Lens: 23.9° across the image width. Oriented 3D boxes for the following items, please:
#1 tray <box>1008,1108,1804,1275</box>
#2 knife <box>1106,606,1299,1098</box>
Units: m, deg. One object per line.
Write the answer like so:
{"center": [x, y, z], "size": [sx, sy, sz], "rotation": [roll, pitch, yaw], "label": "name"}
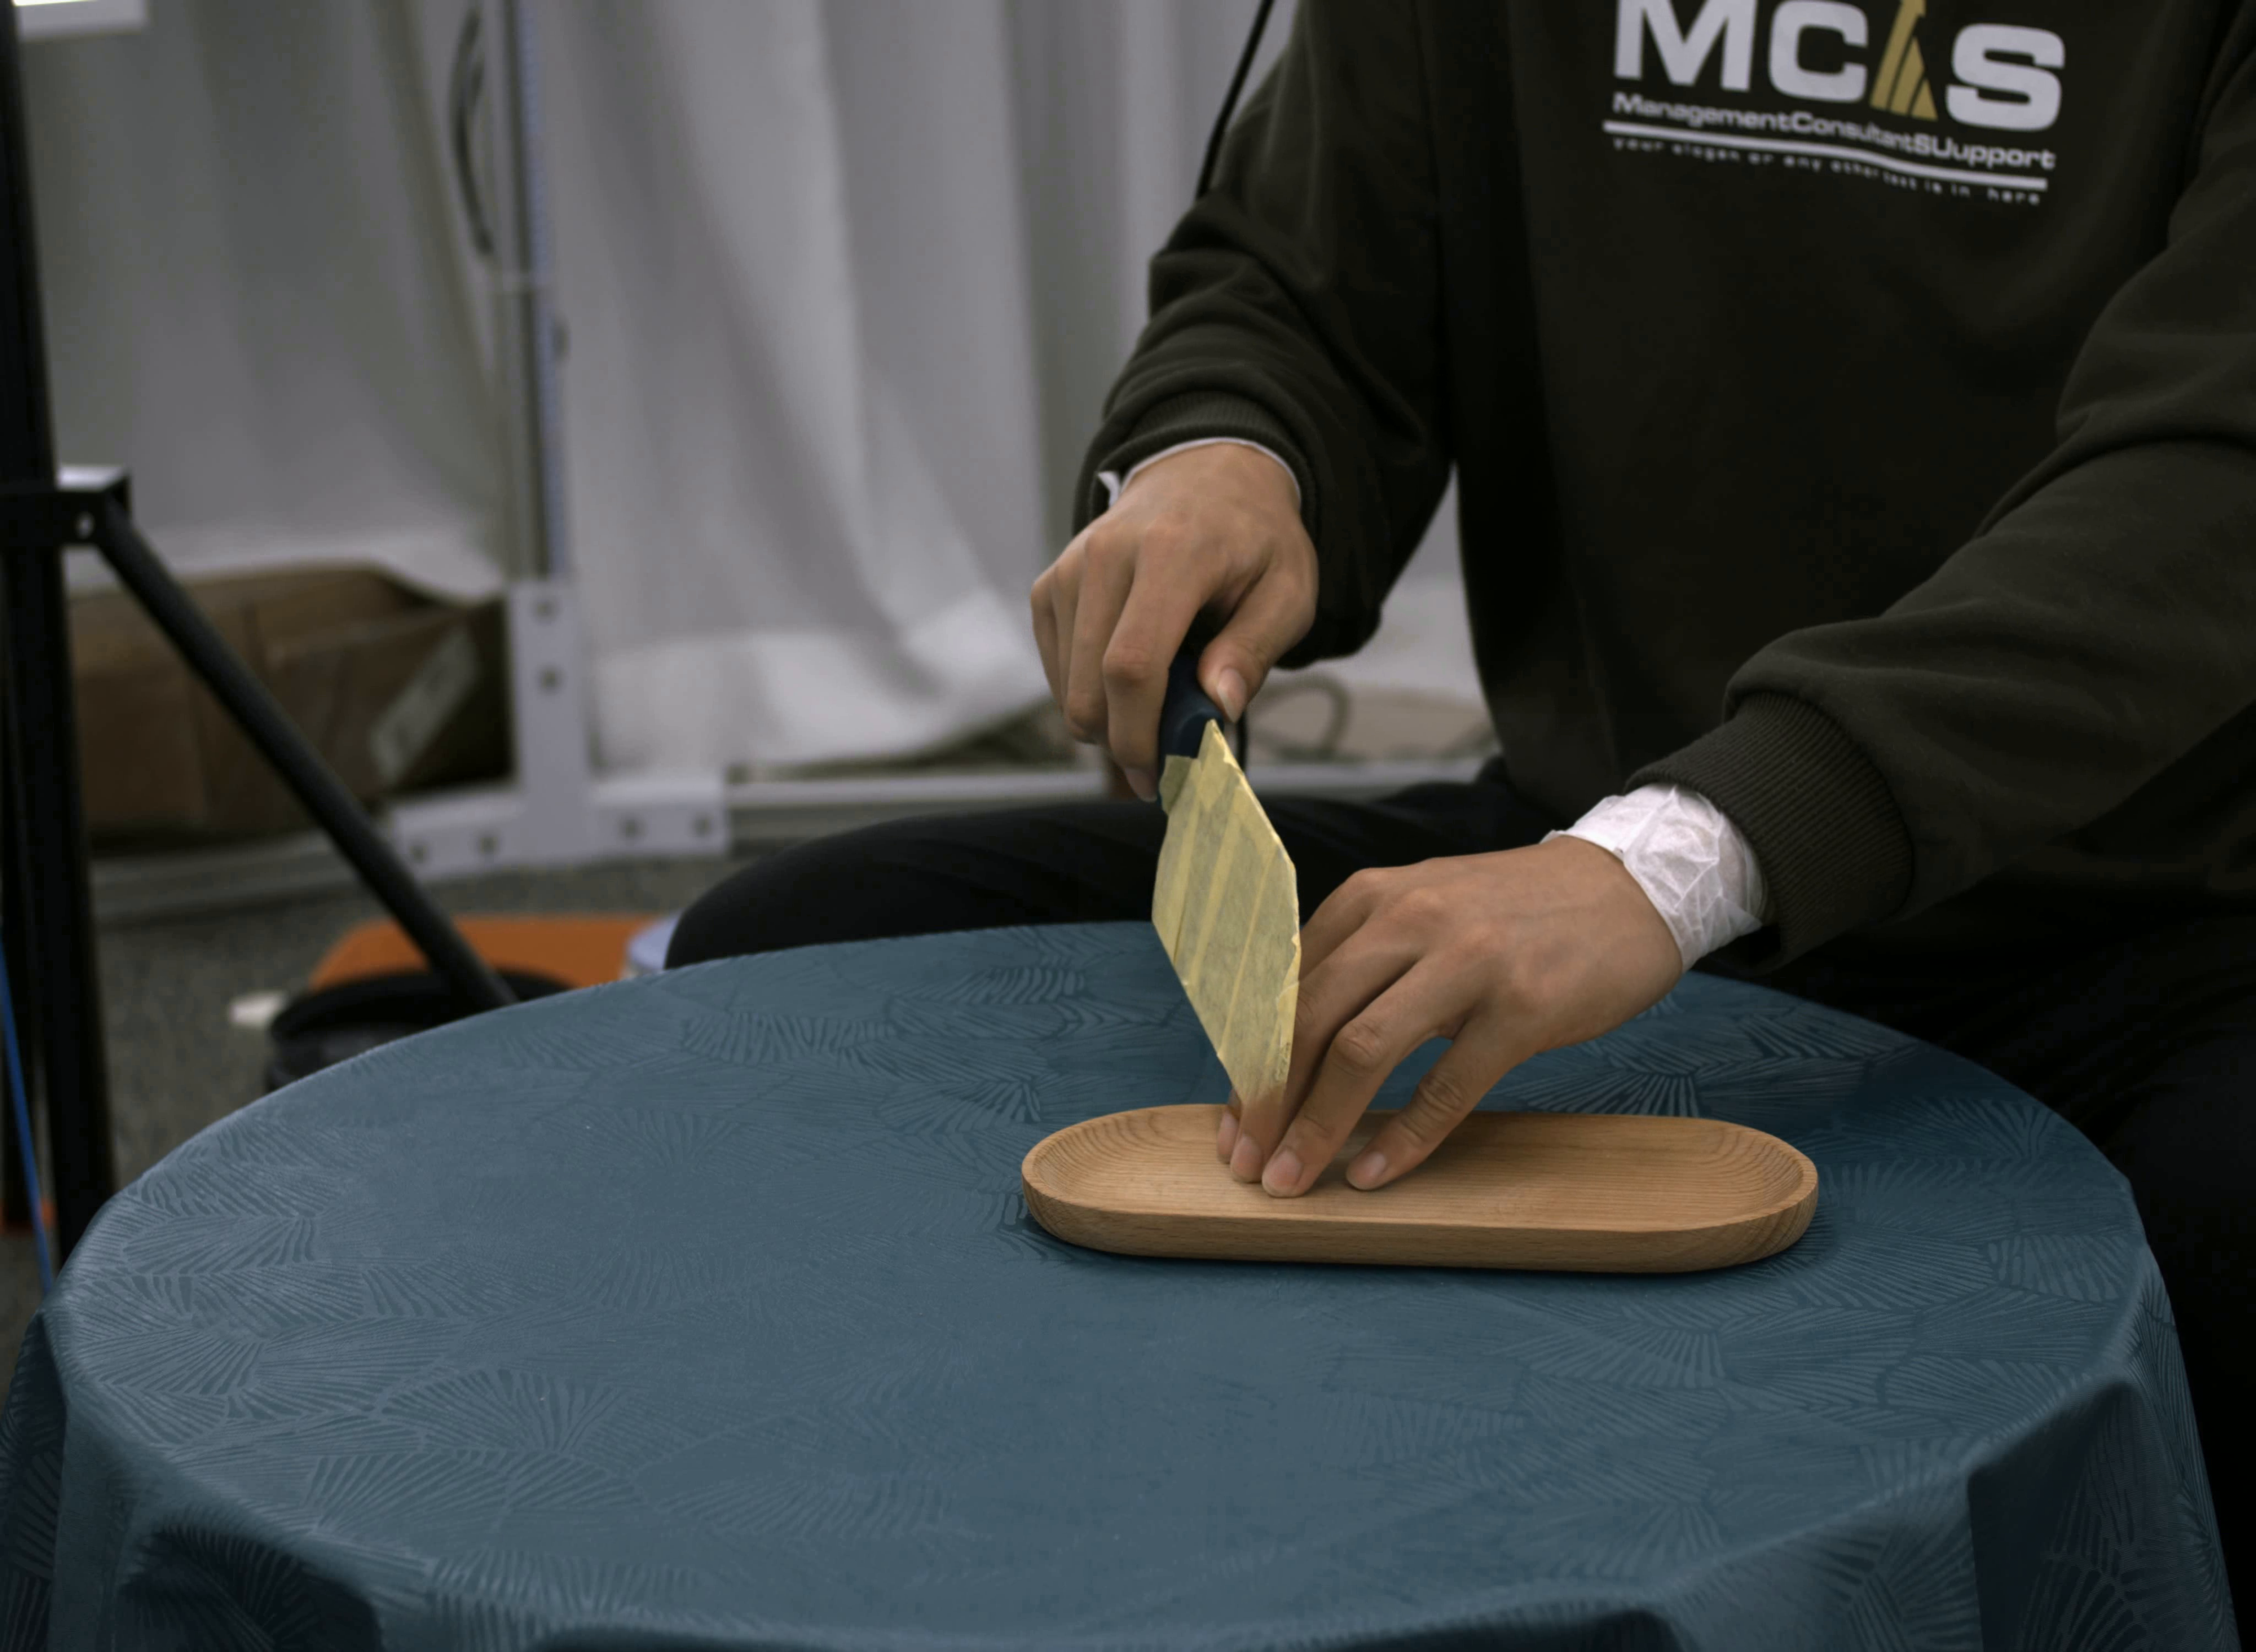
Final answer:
{"center": [0.079, 0.106, 1.529], "size": [0.232, 0.020, 0.101], "rotation": [0, 14, 14], "label": "tray"}
{"center": [0.022, 0.003, 1.636], "size": [0.027, 0.081, 0.293], "rotation": [11, 23, -14], "label": "knife"}
